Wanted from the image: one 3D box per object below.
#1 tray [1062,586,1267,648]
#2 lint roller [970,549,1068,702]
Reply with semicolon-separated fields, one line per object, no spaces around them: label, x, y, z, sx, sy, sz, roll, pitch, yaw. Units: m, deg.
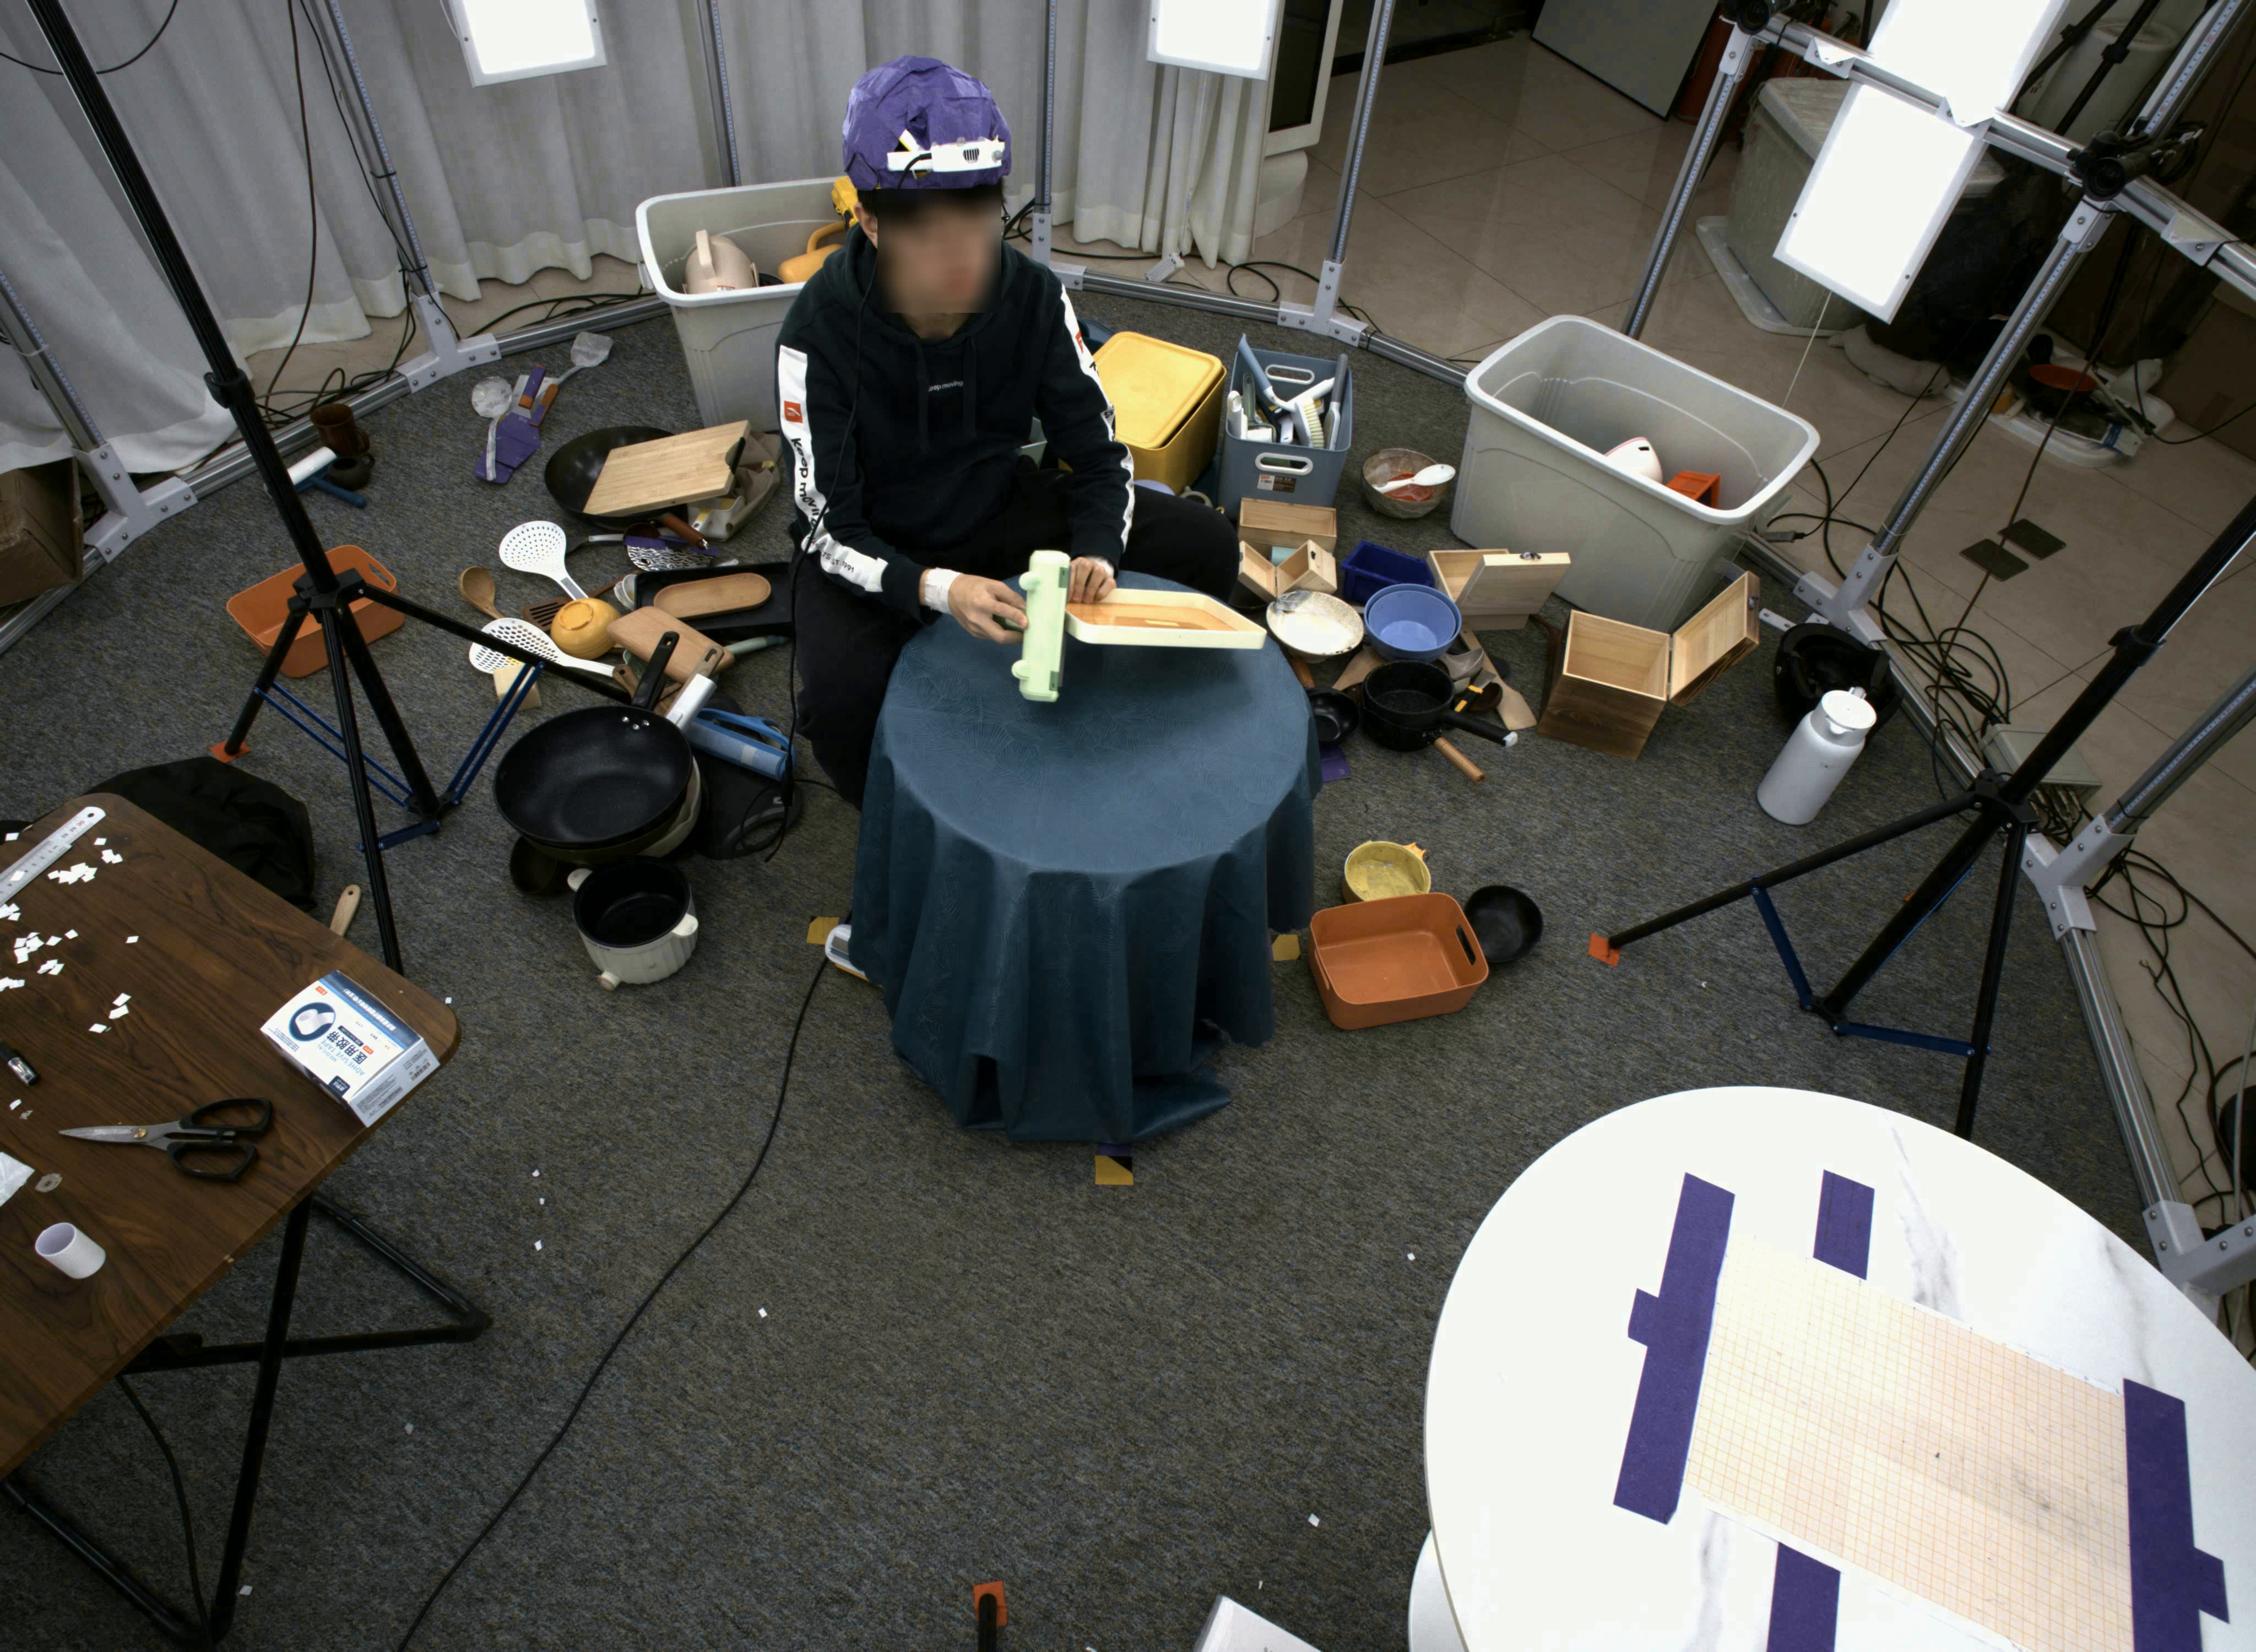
tray;0.028;-0.295;1.816;0.299;0.027;0.195;-3;26;-29
lint roller;-0.161;-0.278;1.732;0.185;0.196;0.082;15;16;33
